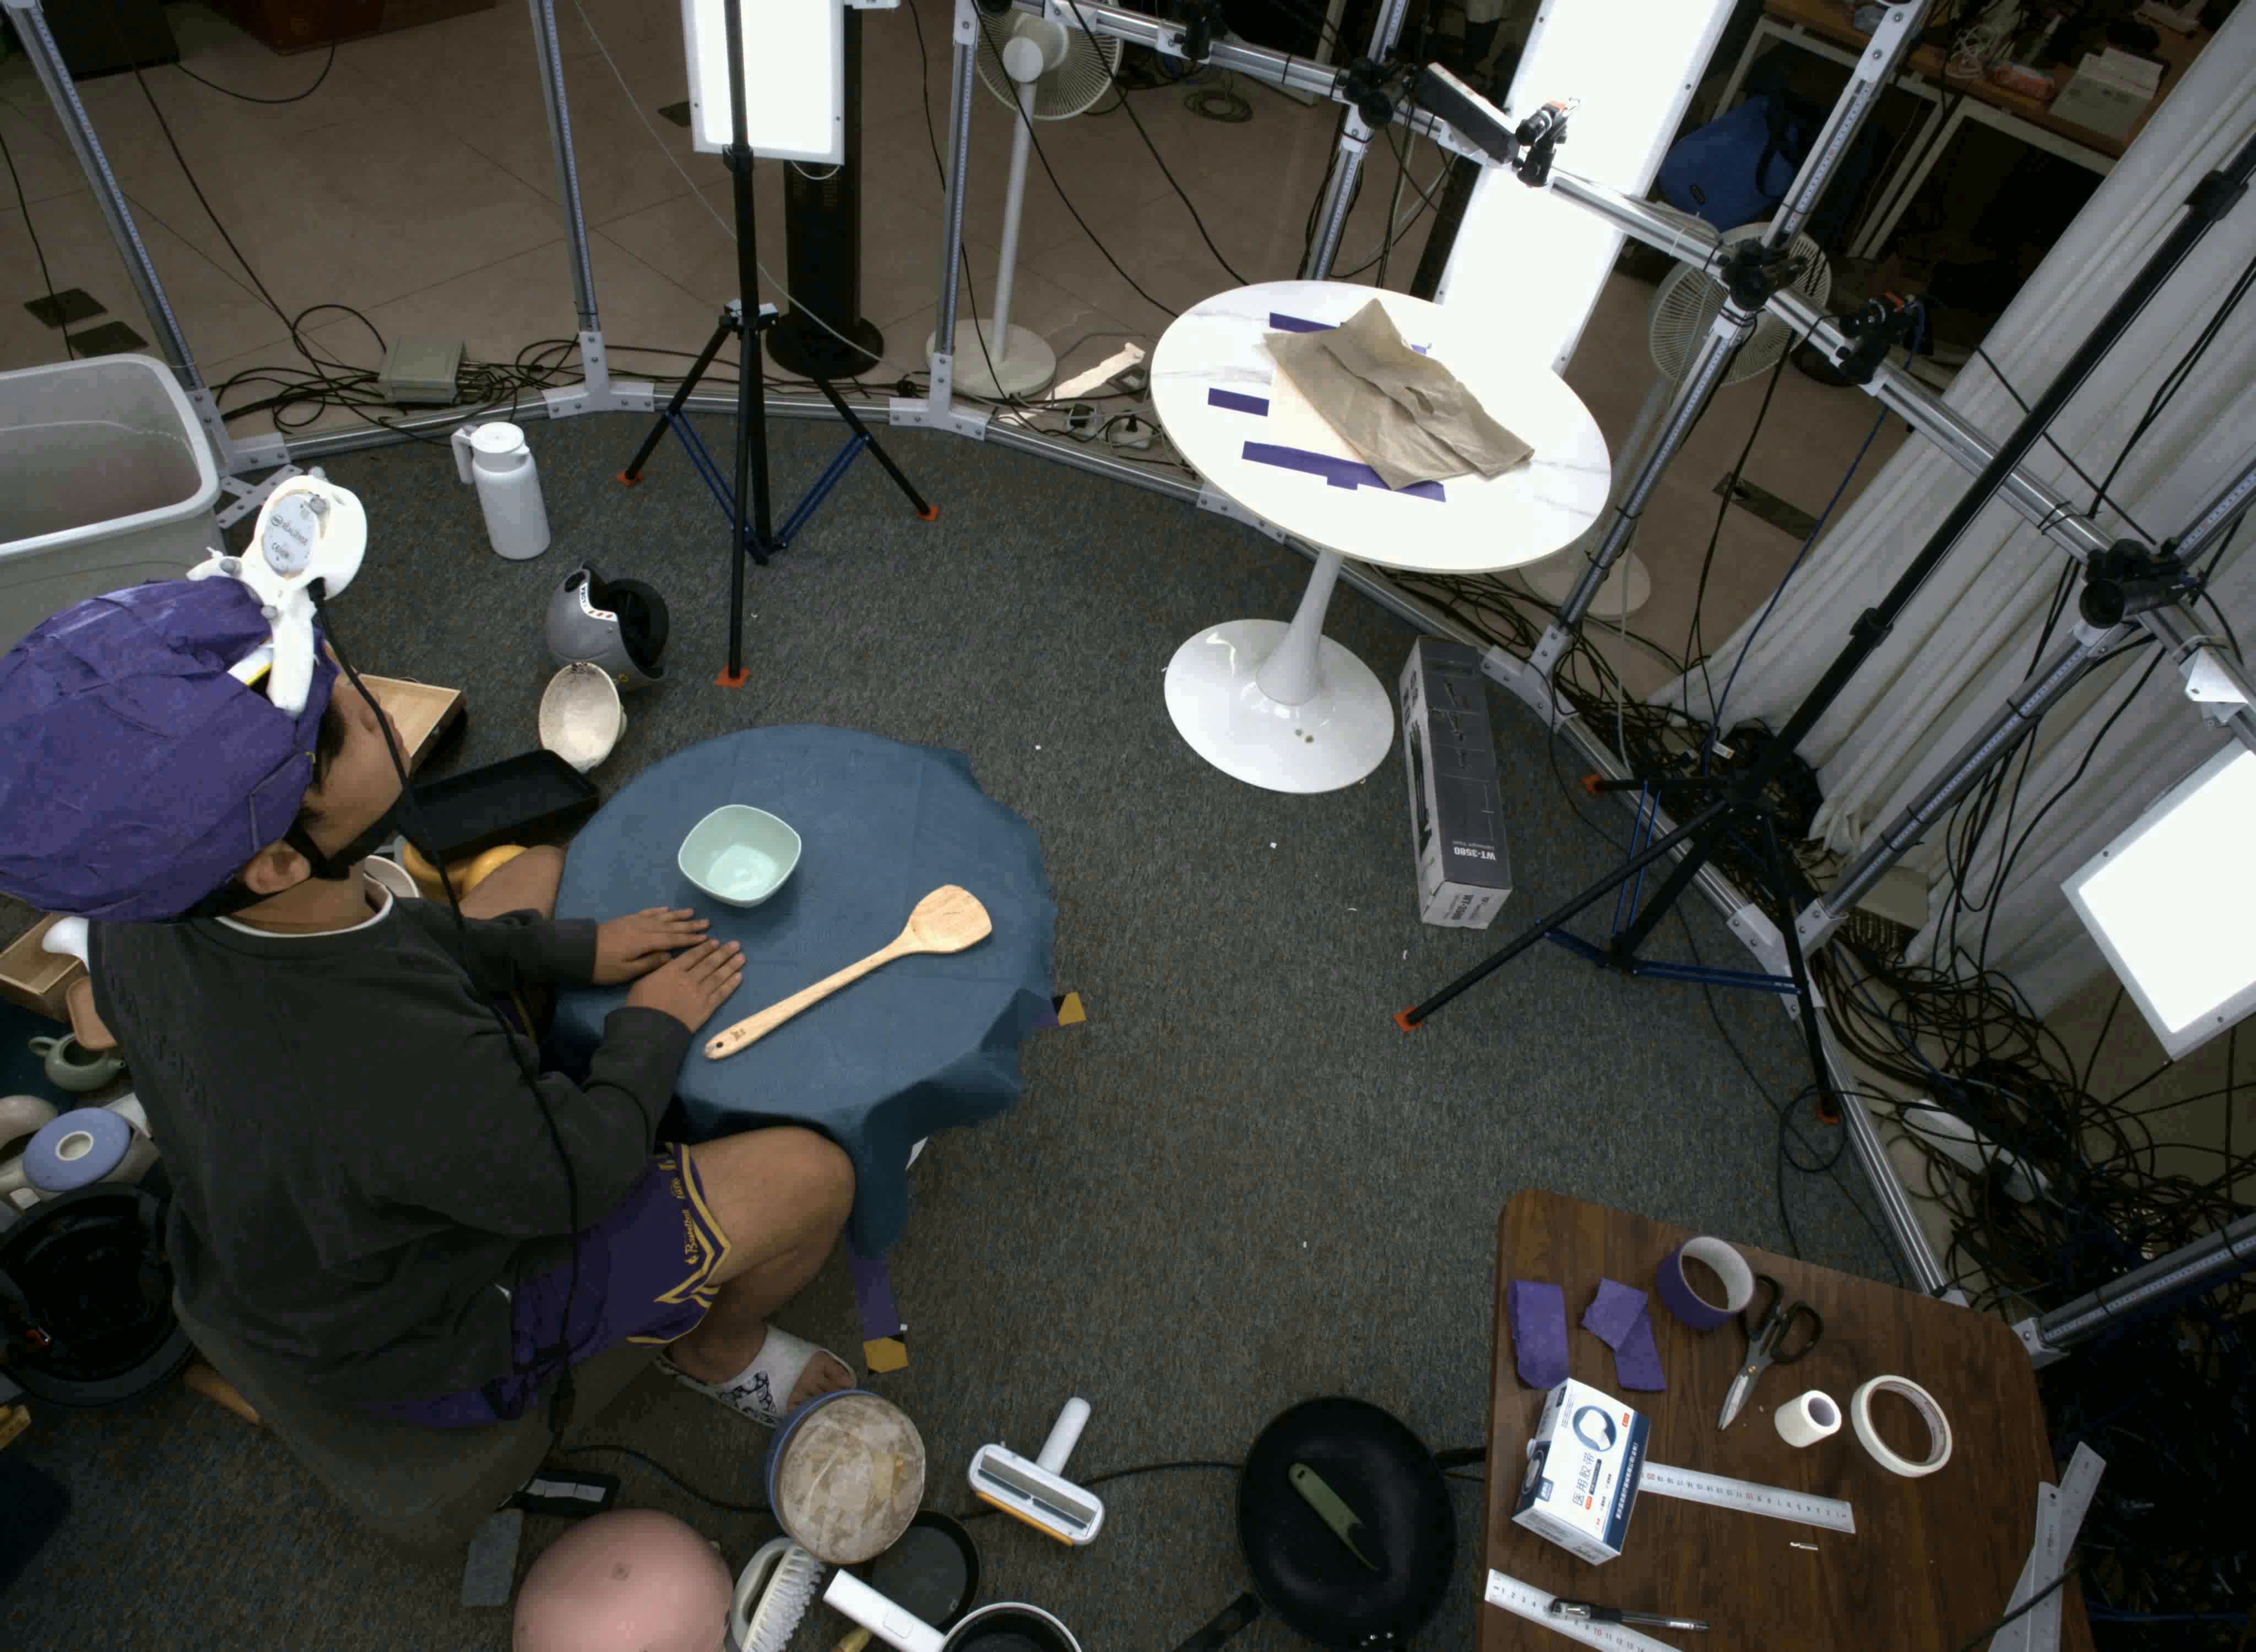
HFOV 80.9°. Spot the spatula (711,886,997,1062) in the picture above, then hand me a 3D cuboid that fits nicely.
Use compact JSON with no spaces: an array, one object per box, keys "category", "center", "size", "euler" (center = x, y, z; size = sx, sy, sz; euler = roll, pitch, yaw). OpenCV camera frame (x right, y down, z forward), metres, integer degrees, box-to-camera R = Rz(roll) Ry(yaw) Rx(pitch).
[{"category":"spatula","center":[-0.335,0.186,1.602],"size":[0.392,0.019,0.093],"euler":[-29,63,-31]}]

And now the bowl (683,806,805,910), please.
[{"category":"bowl","center":[-0.485,0.049,1.641],"size":[0.151,0.060,0.148],"euler":[8,50,-9]}]
